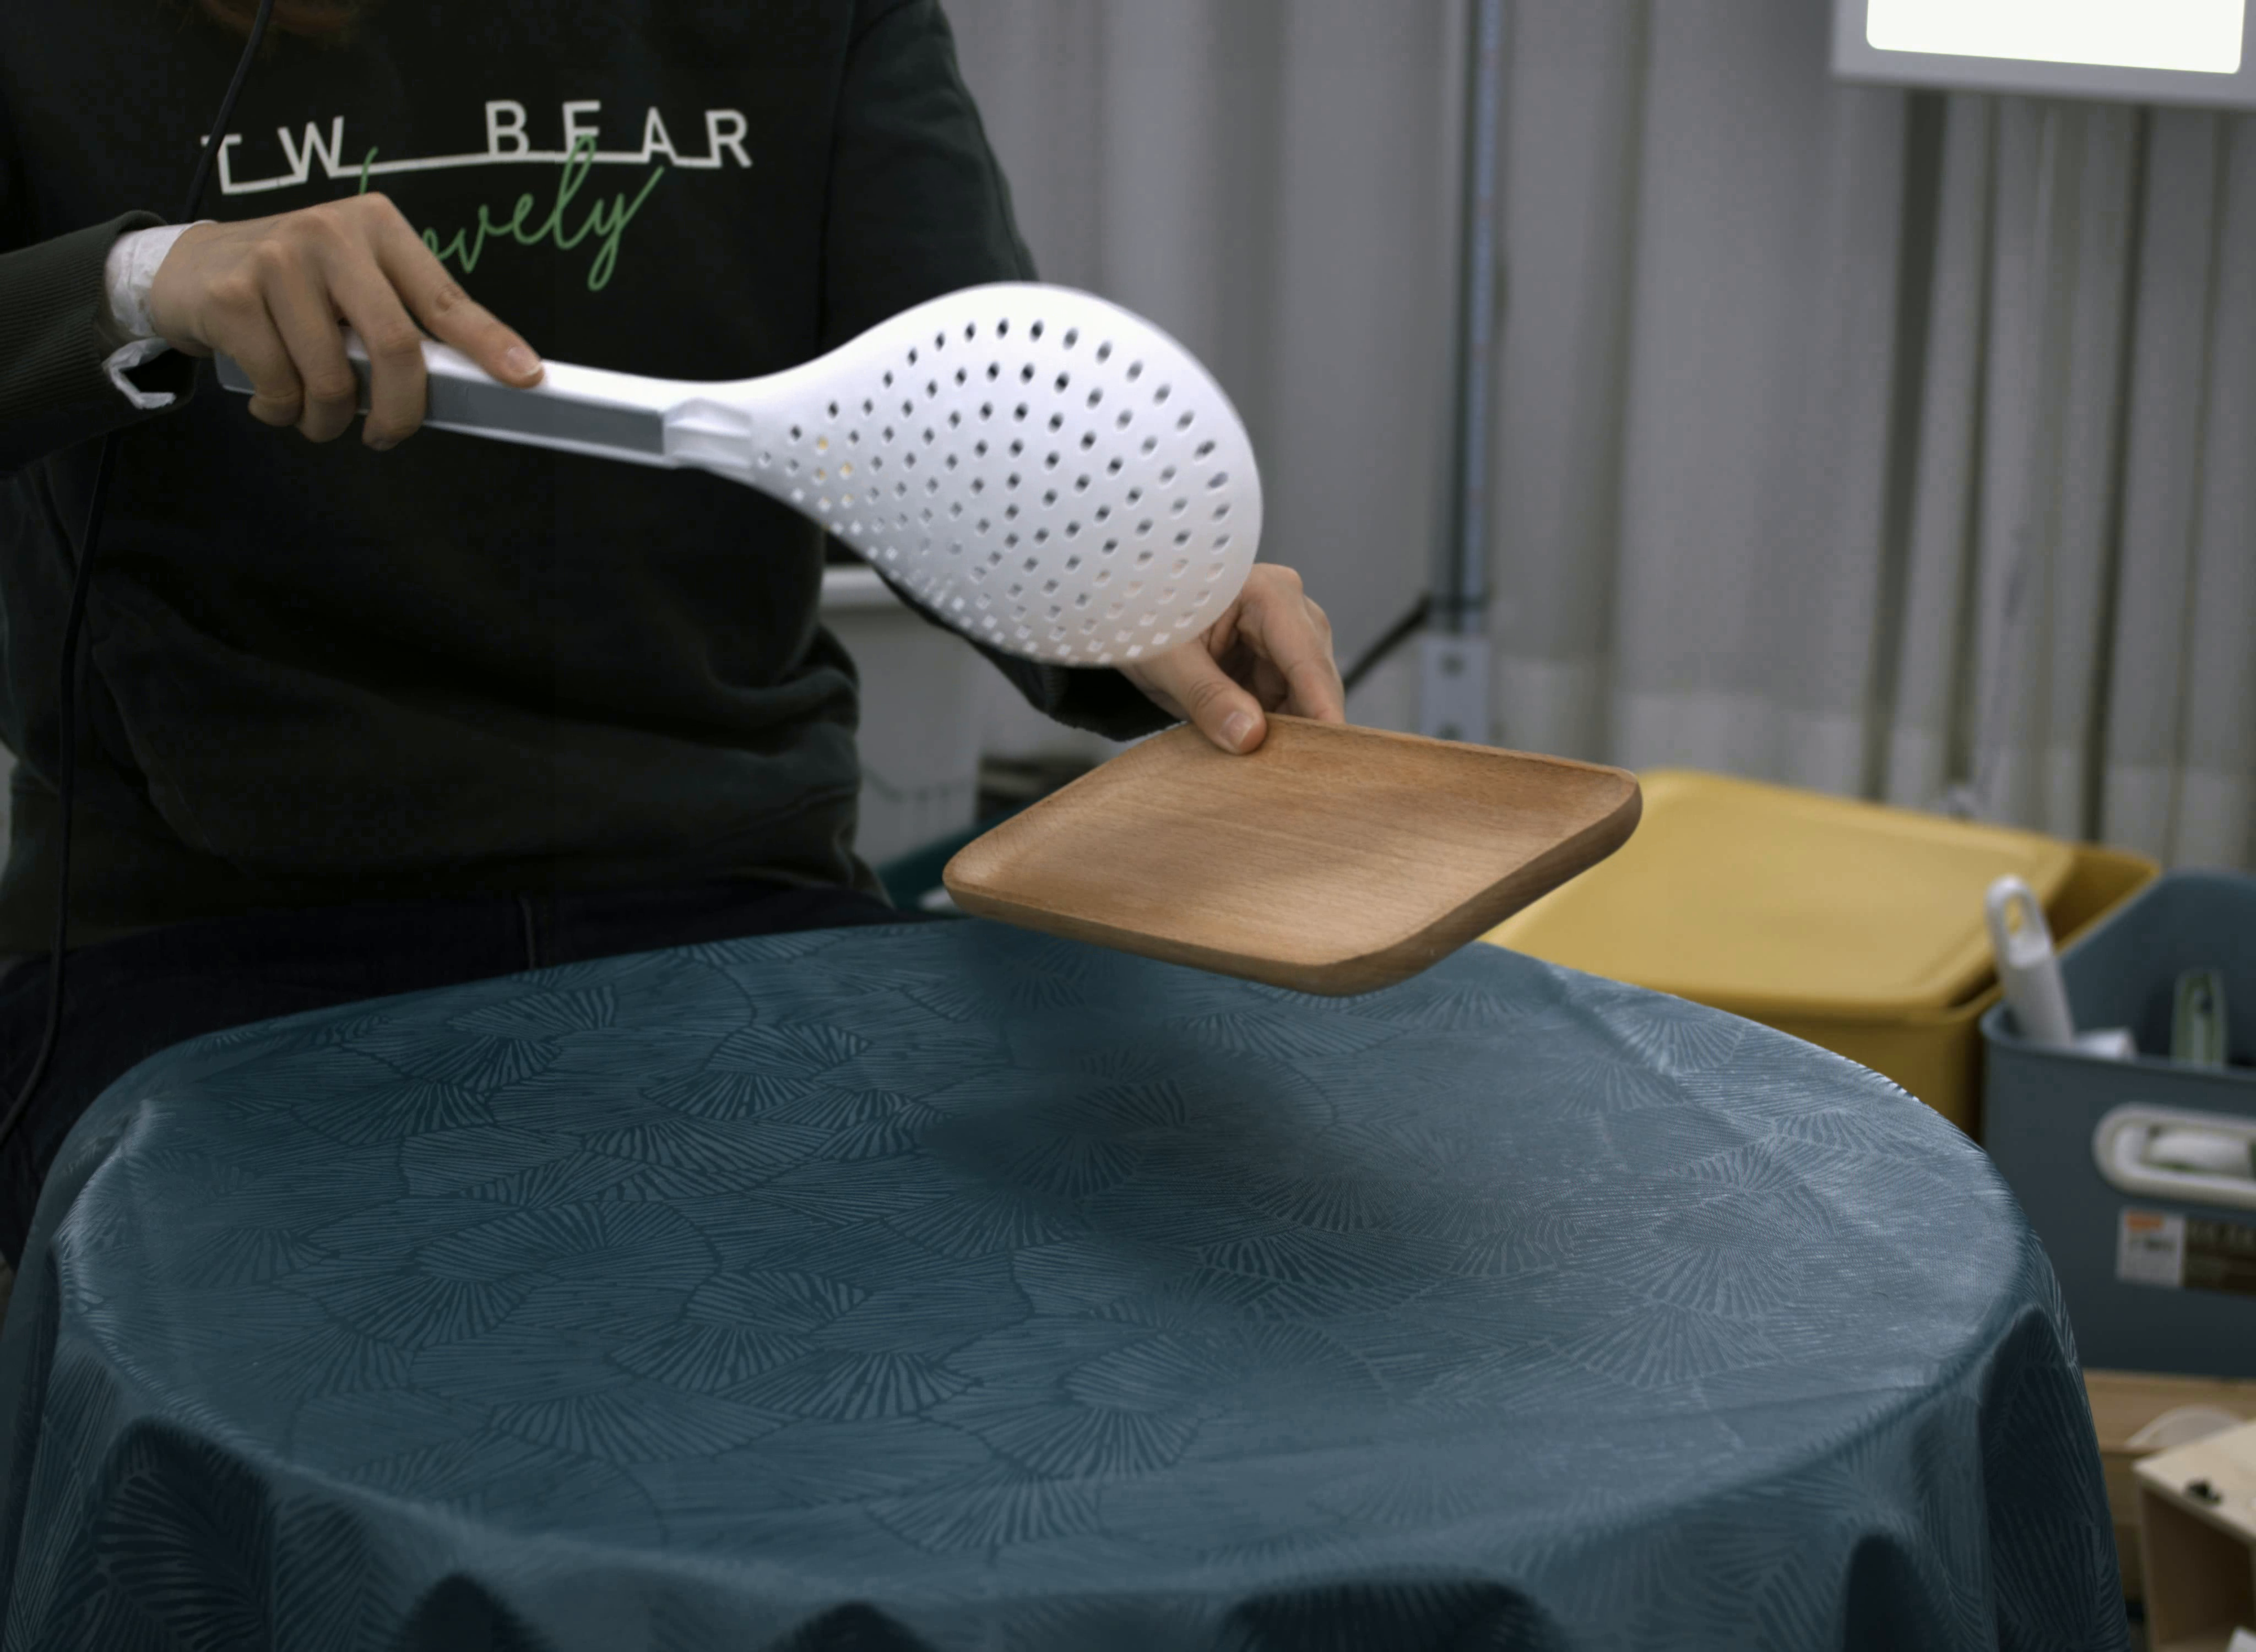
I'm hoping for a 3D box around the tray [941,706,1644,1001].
[{"bbox_3d":[0.047,0.007,1.615,0.131,0.023,0.248,-28,20,-26],"label":"tray"}]

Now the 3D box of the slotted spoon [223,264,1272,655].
[{"bbox_3d":[-0.125,-0.128,1.658,0.346,0.137,0.045,13,36,18],"label":"slotted spoon"}]
